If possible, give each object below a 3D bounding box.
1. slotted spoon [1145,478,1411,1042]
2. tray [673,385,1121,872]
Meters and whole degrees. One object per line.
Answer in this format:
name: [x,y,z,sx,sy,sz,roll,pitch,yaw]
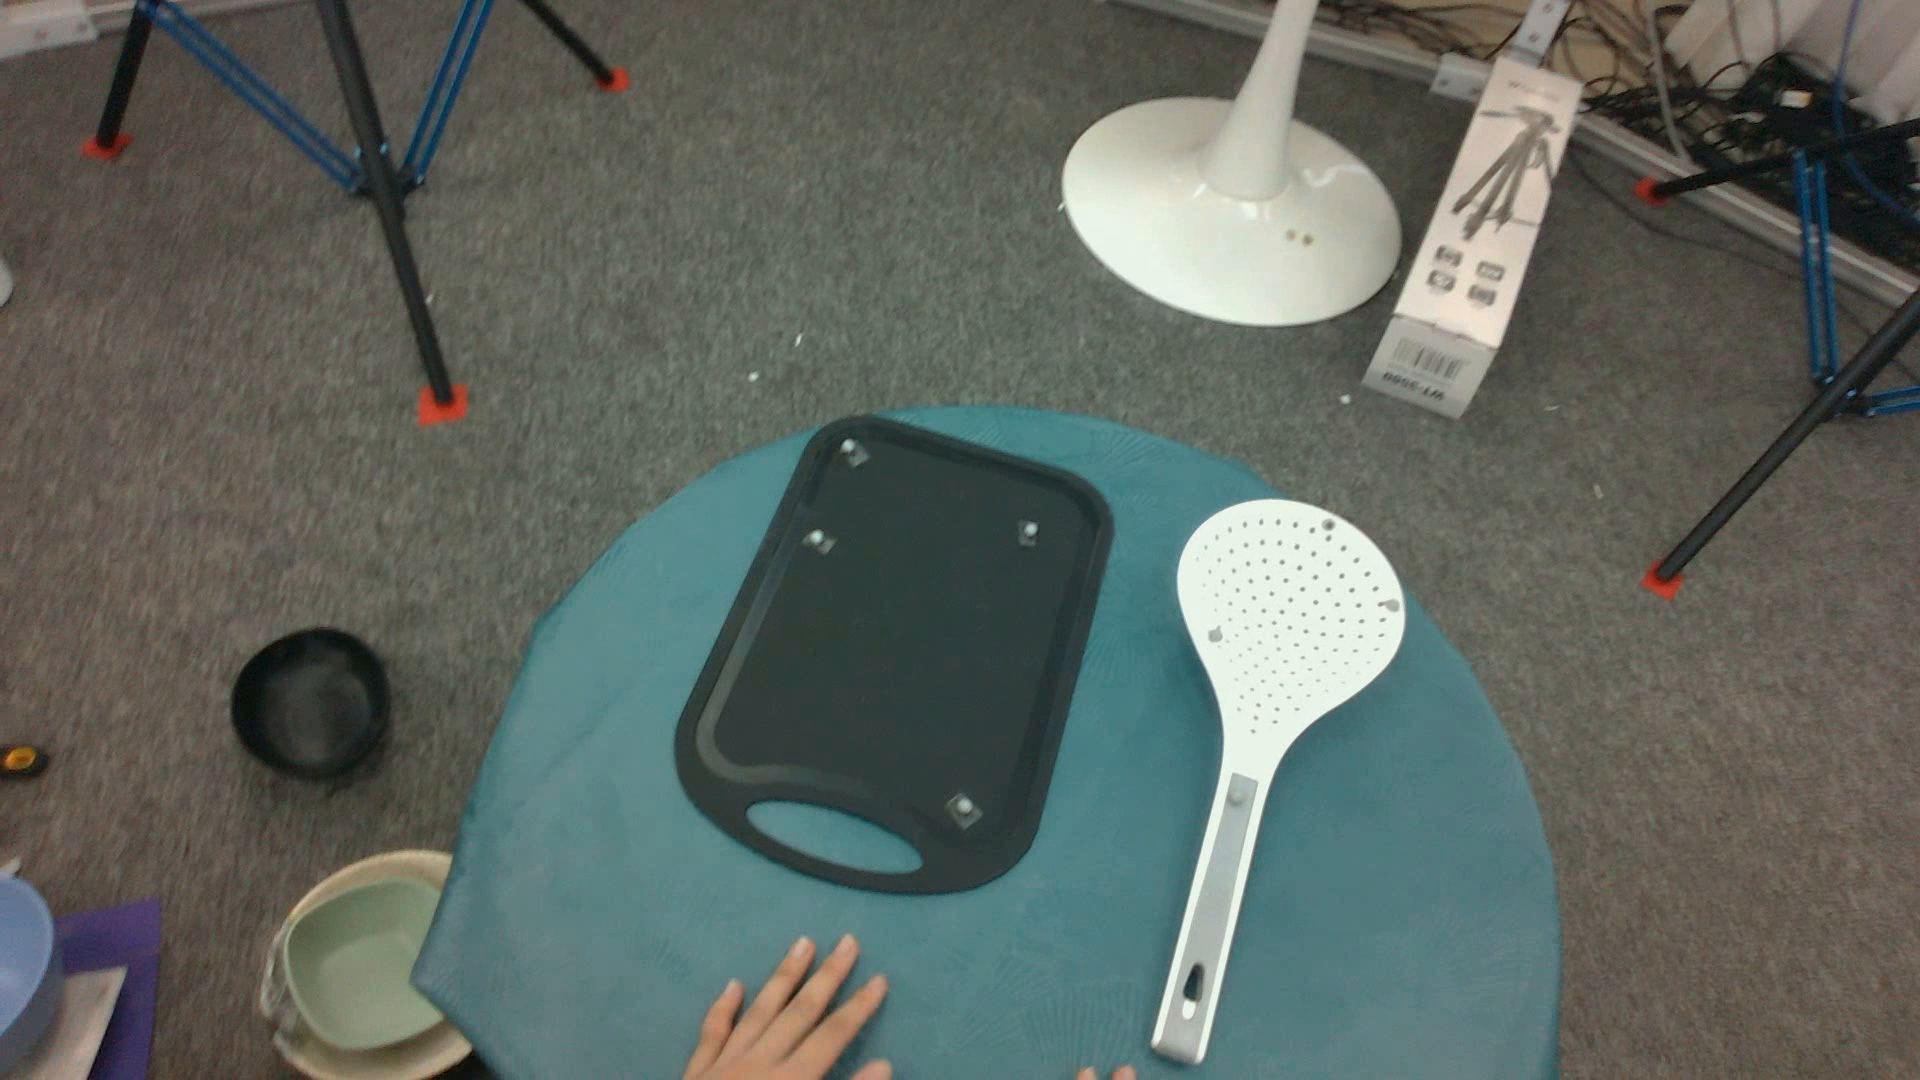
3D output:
slotted spoon: [0.166,0.110,0.779,0.136,0.045,0.351,19,55,7]
tray: [-0.029,0.041,0.819,0.211,0.010,0.327,17,55,4]
